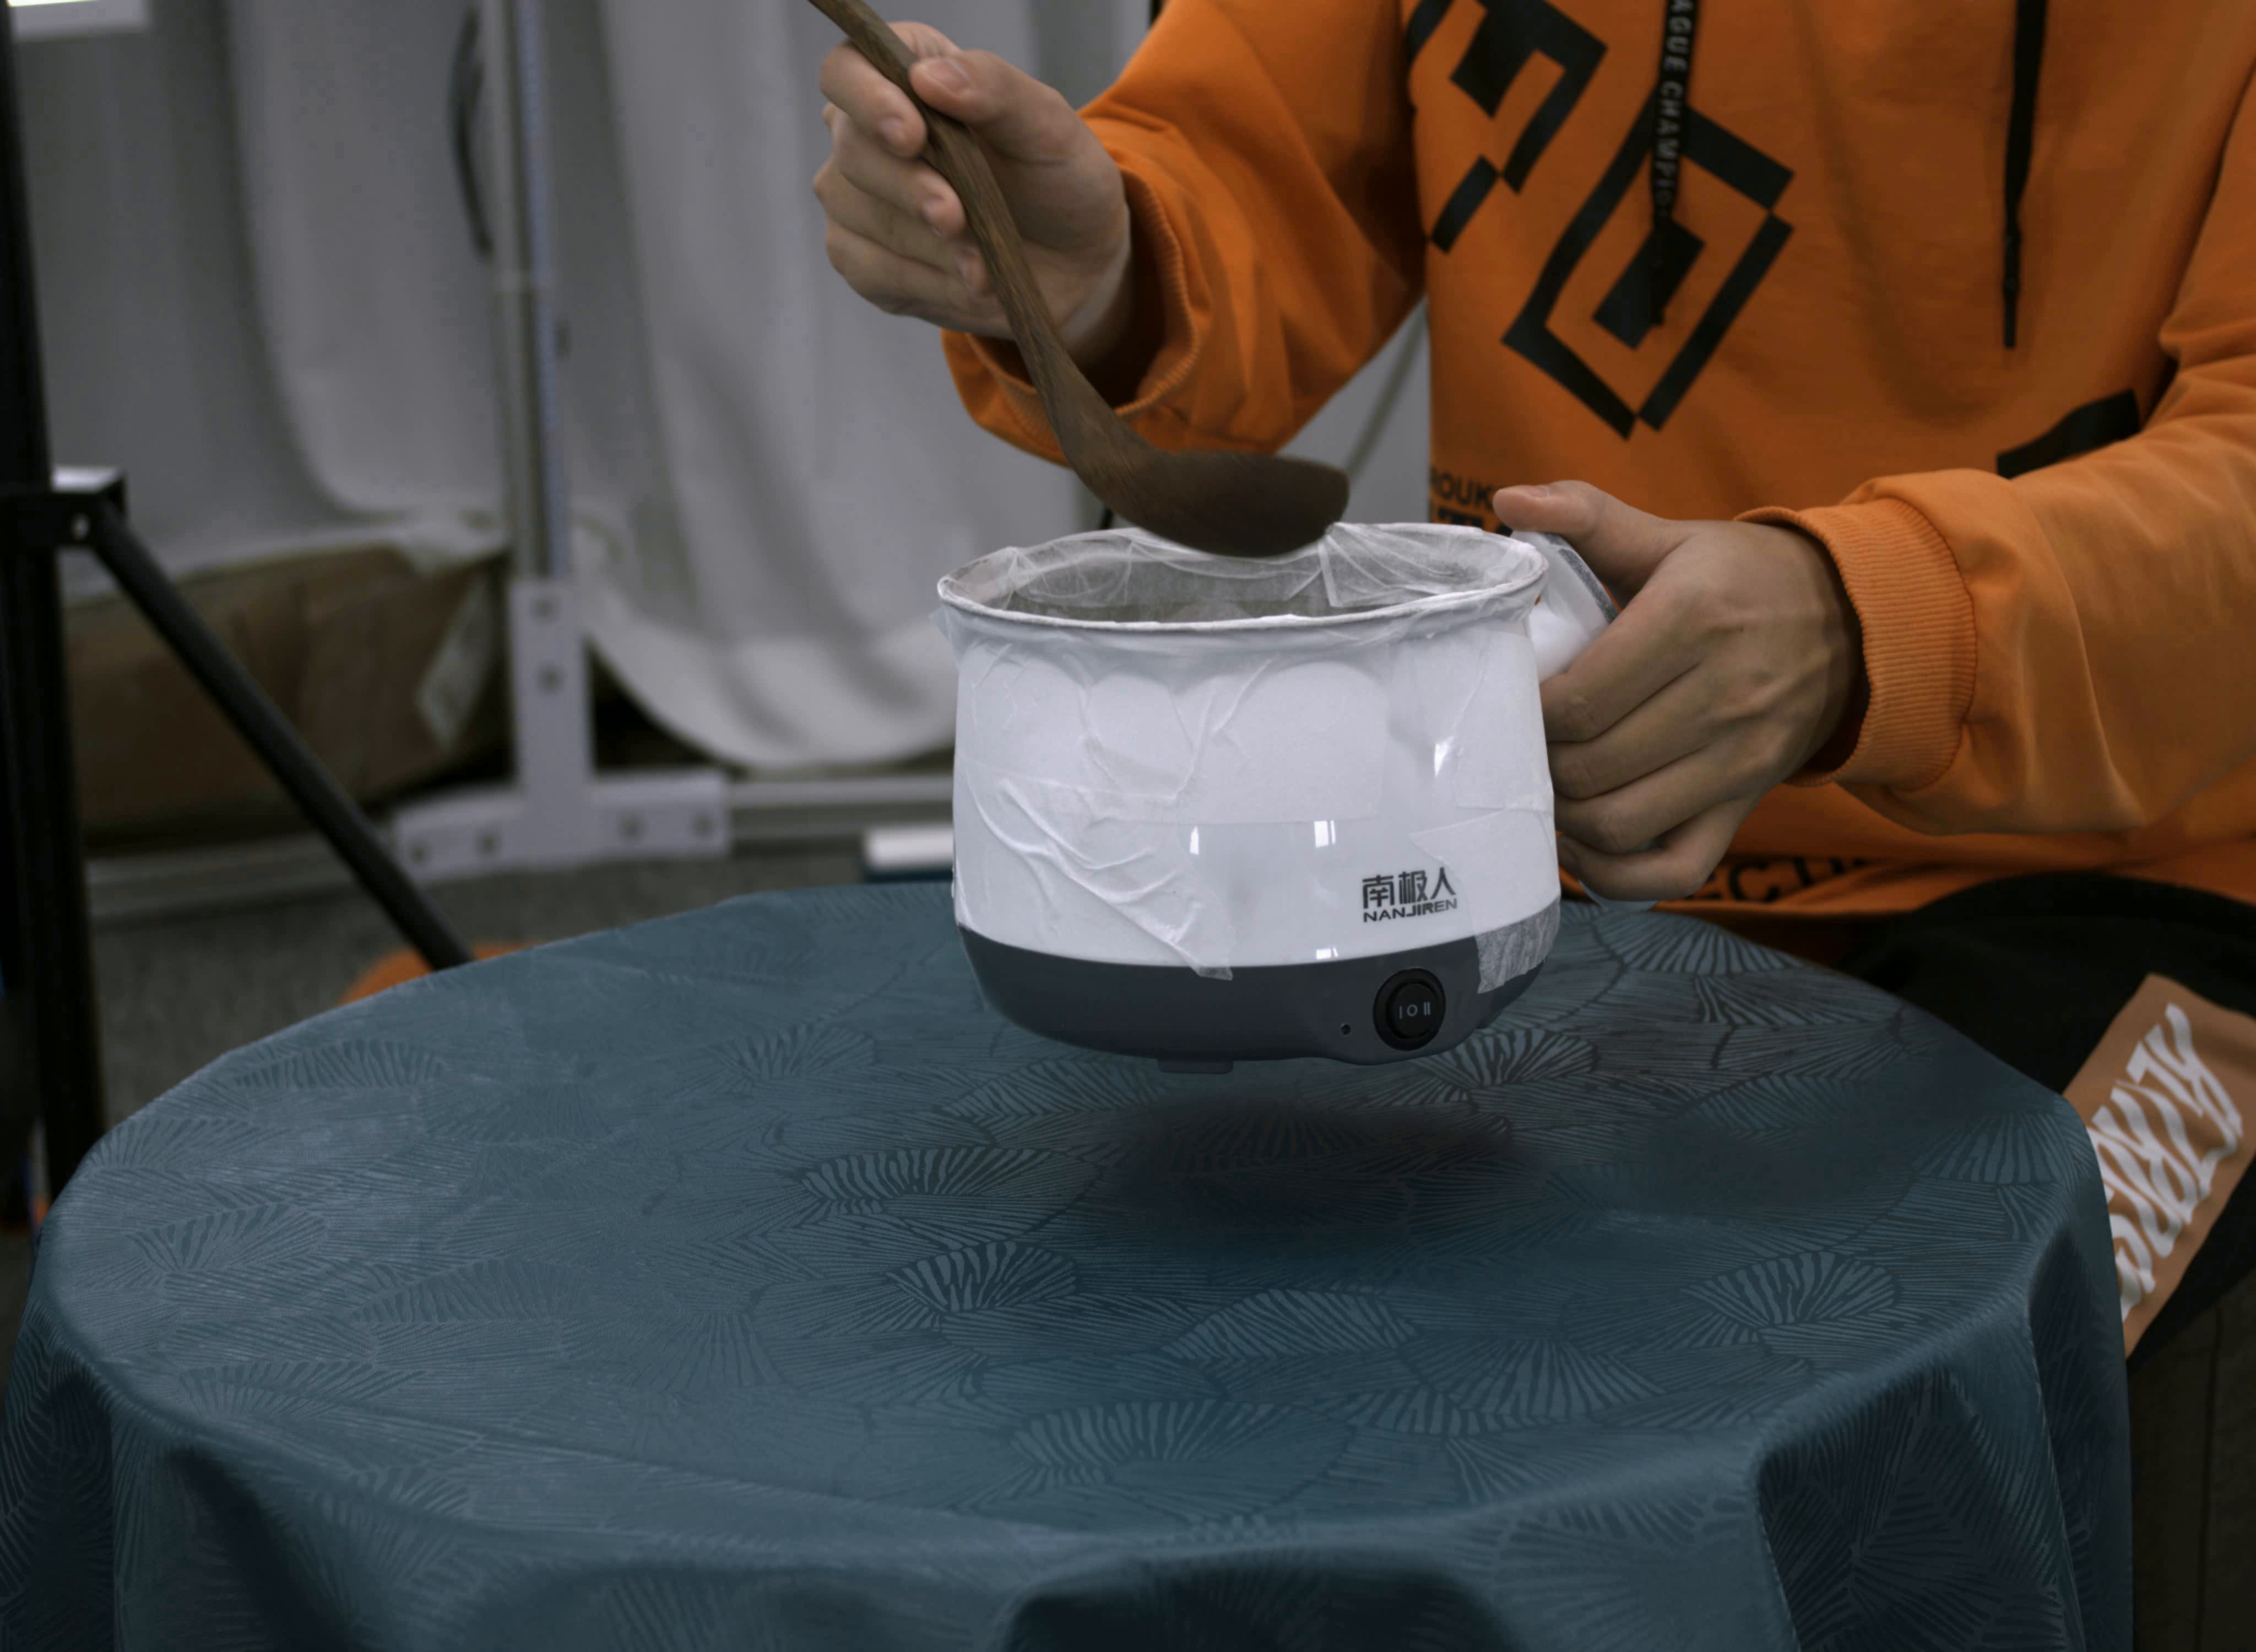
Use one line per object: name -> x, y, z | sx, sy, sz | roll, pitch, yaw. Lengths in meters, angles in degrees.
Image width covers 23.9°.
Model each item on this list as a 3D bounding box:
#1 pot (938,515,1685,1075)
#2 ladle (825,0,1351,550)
pot -> 0.060, -0.015, 1.553 | 0.228, 0.137, 0.182 | -9, 14, -28
ladle -> -0.026, -0.188, 1.581 | 0.072, 0.279, 0.074 | -38, -26, 15
